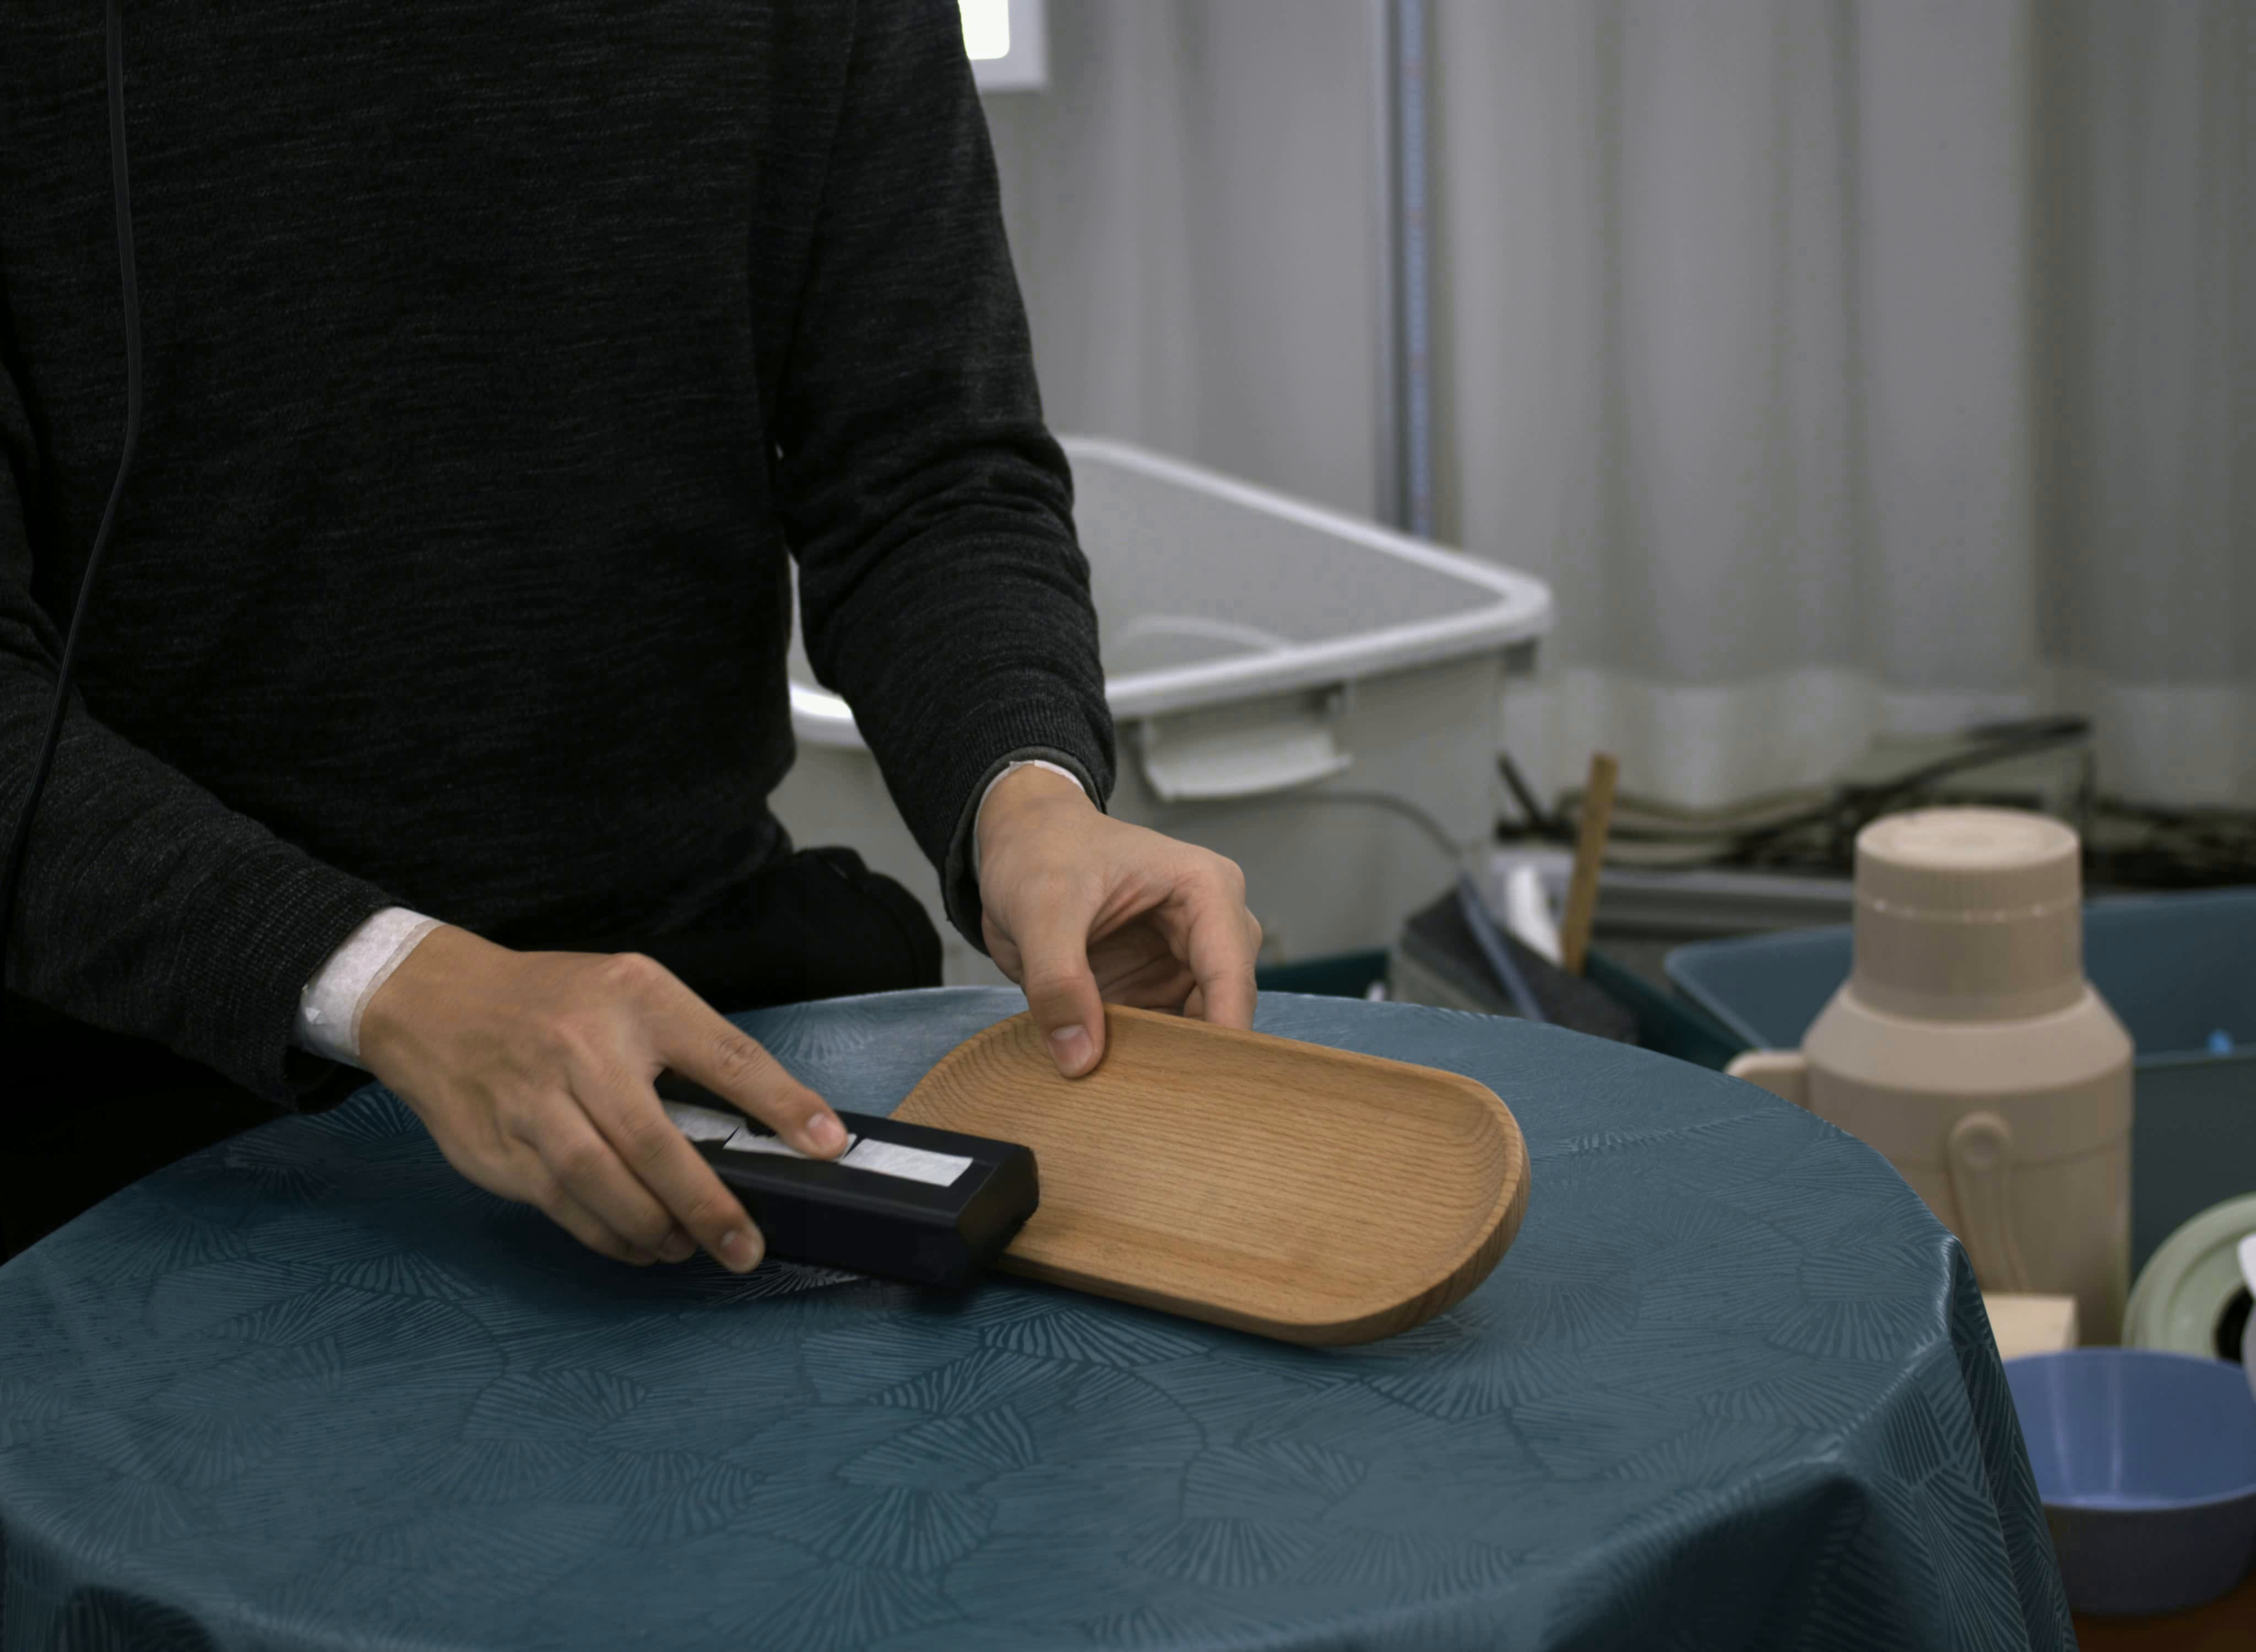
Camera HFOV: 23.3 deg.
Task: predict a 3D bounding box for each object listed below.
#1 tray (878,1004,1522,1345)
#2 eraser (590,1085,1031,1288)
[{"bbox_3d":[0.018,0.104,1.638,0.232,0.020,0.102,8,47,41],"label":"tray"},{"bbox_3d":[-0.094,0.107,1.643,0.125,0.030,0.054,8,24,19],"label":"eraser"}]
